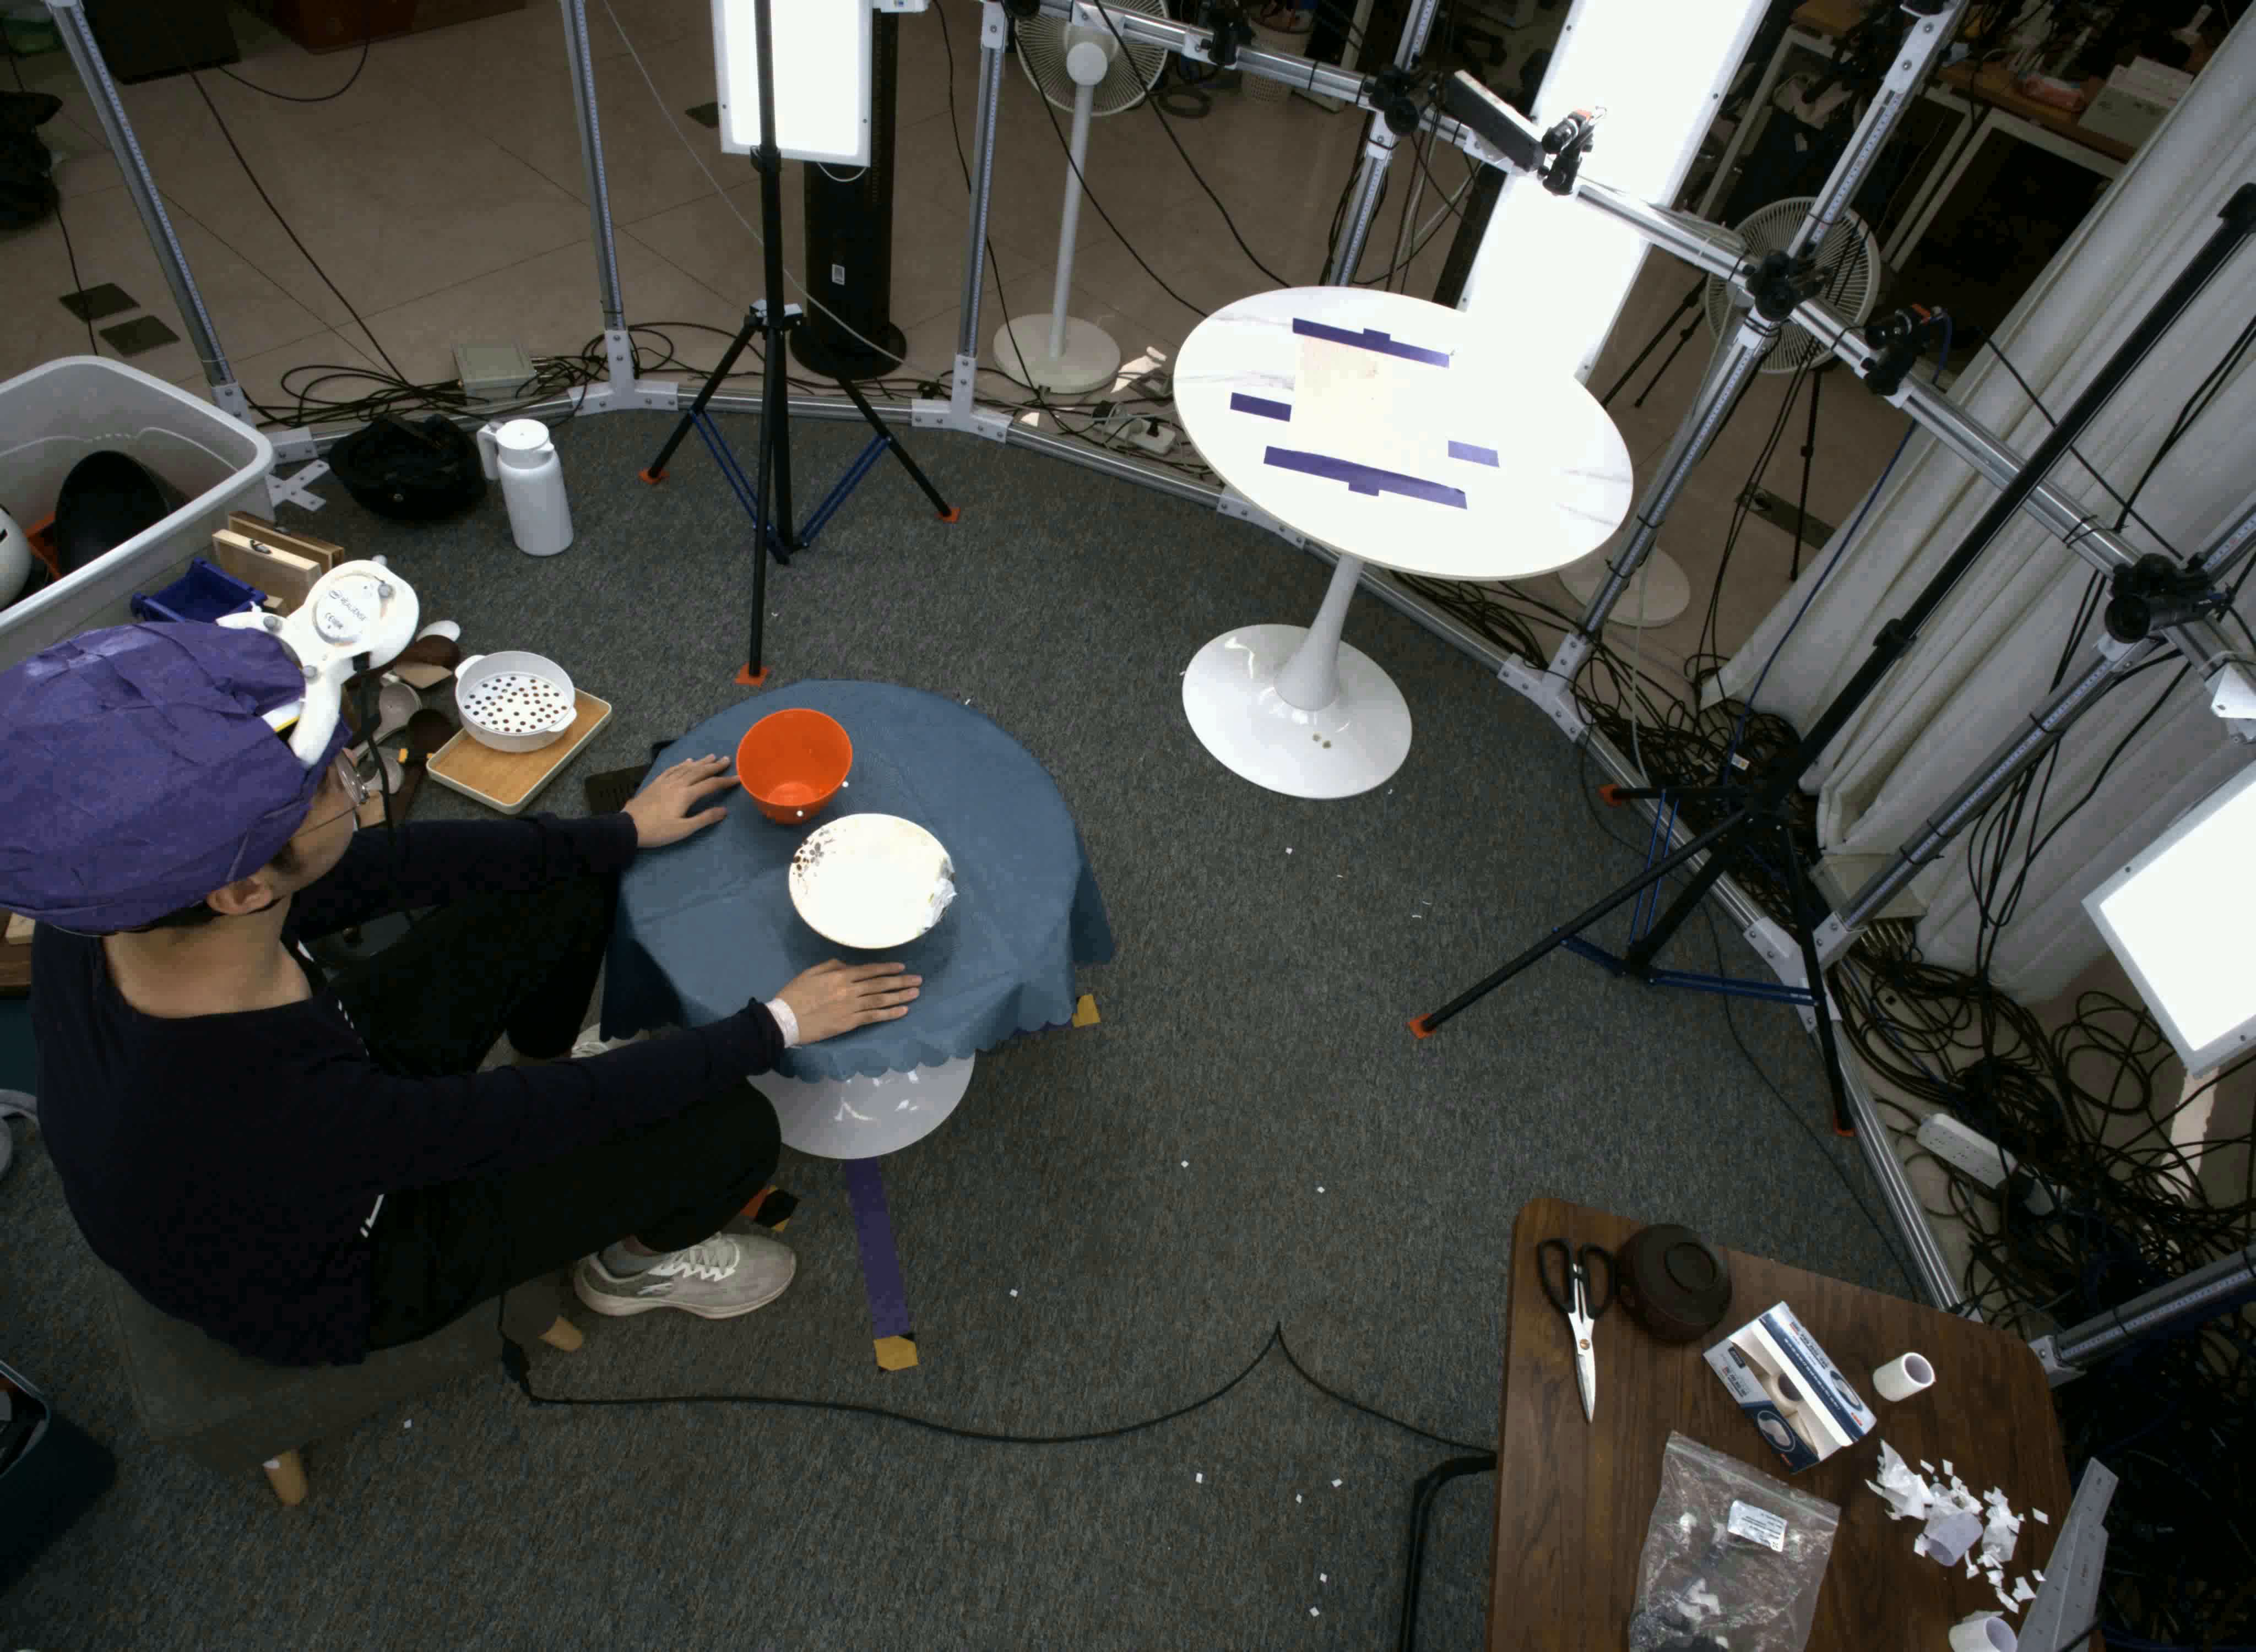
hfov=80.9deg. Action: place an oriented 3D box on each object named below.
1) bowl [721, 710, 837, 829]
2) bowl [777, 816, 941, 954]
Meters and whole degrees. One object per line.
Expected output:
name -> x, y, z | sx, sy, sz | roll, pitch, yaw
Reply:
bowl -> -0.458, -0.063, 1.709 | 0.147, 0.107, 0.145 | 6, 54, -7
bowl -> -0.336, 0.090, 1.647 | 0.202, 0.080, 0.200 | 4, 56, -4
